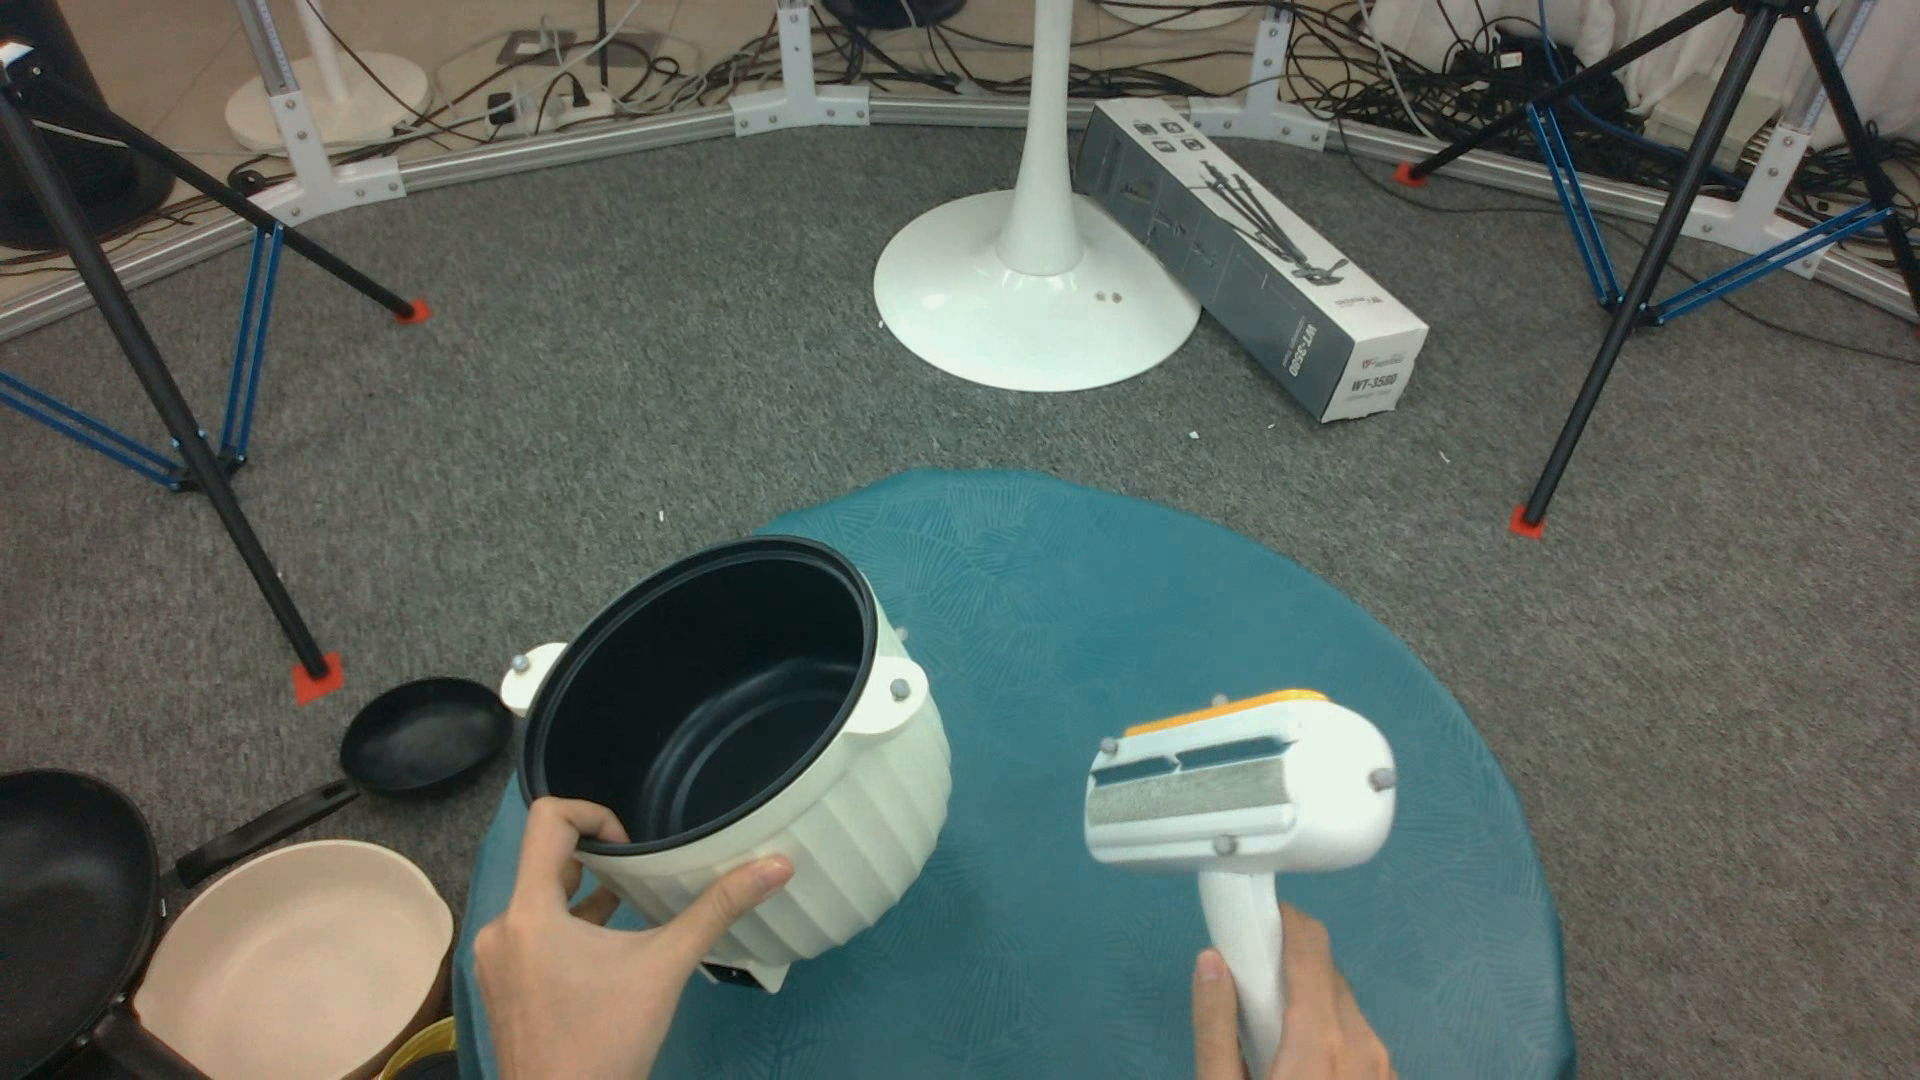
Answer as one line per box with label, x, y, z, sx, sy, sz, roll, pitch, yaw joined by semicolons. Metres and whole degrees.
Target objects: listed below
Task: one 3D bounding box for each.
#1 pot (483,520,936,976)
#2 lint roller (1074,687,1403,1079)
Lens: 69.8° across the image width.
pot;-0.106;0.097;0.676;0.240;0.142;0.191;1;51;26
lint roller;0.119;0.166;0.597;0.074;0.192;0.193;8;76;-29
